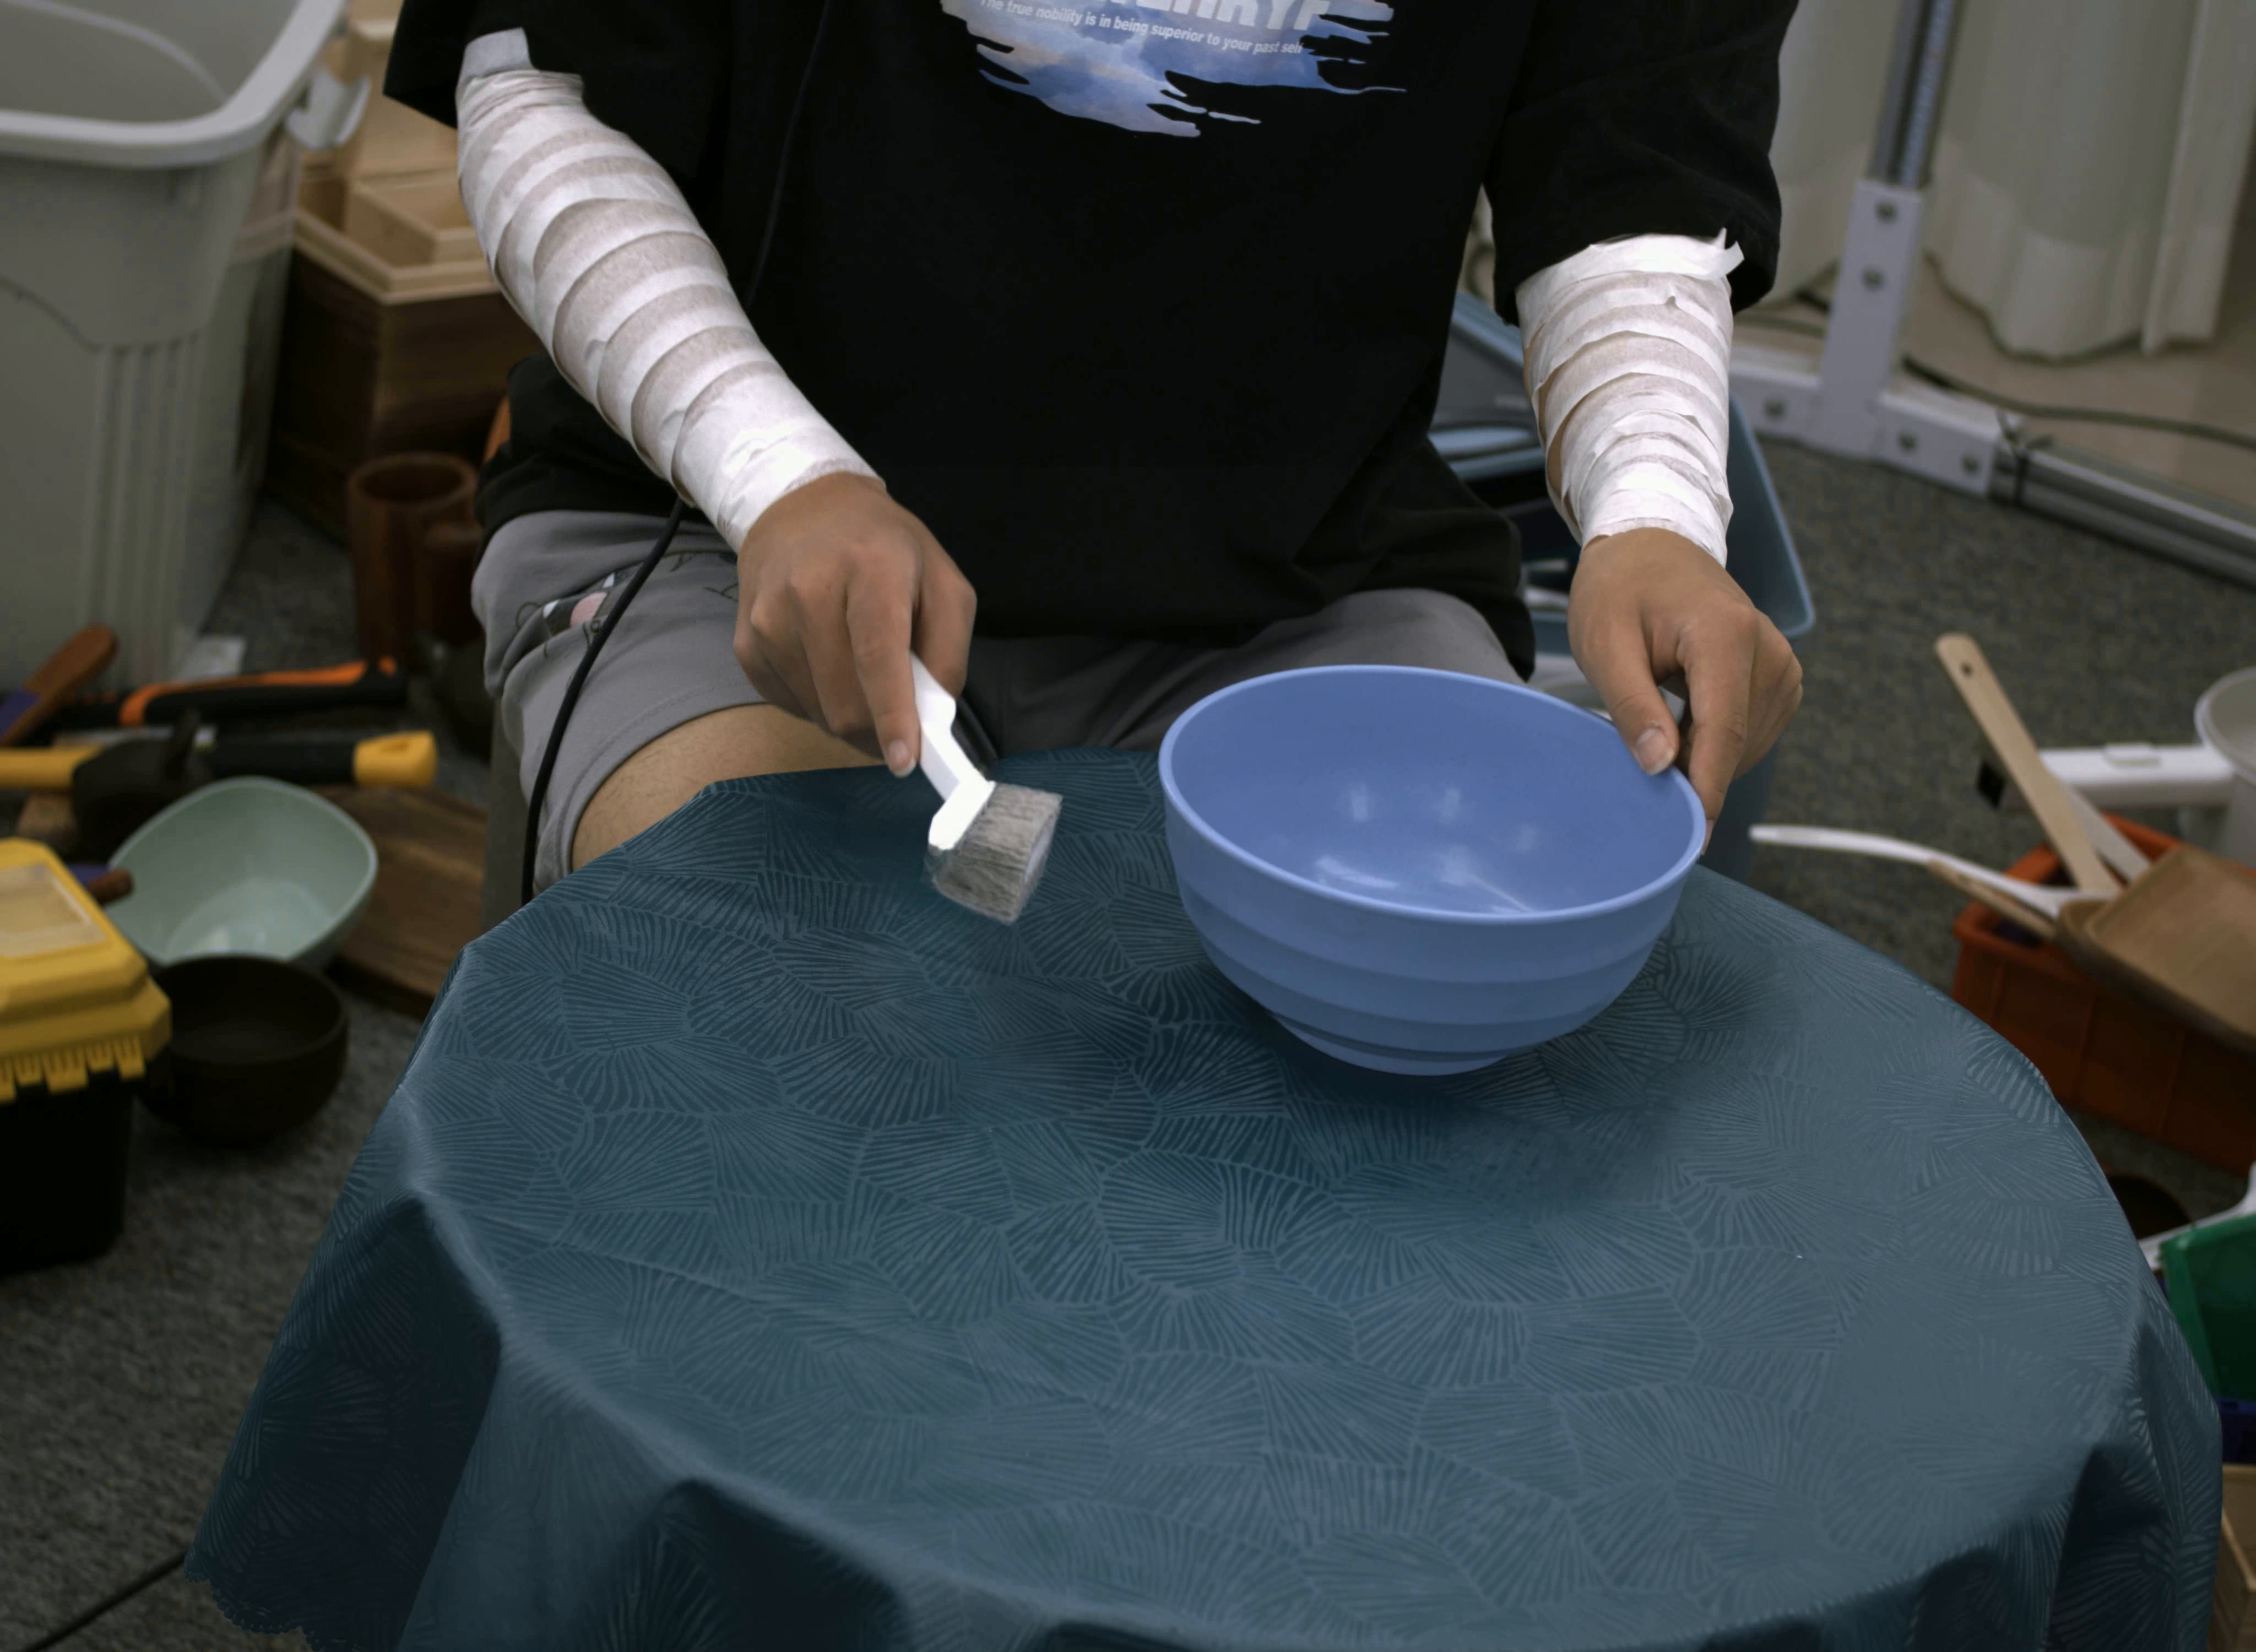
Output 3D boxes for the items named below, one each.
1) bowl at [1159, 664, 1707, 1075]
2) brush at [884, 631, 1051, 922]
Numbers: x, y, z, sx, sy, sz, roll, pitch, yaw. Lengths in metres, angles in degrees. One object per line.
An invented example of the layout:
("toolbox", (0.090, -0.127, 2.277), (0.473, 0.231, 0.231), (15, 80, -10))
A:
("bowl", (0.104, 0.026, 1.914), (0.196, 0.095, 0.198), (4, 28, -3))
("brush", (-0.059, -0.022, 1.927), (0.050, 0.034, 0.245), (13, 17, -10))
